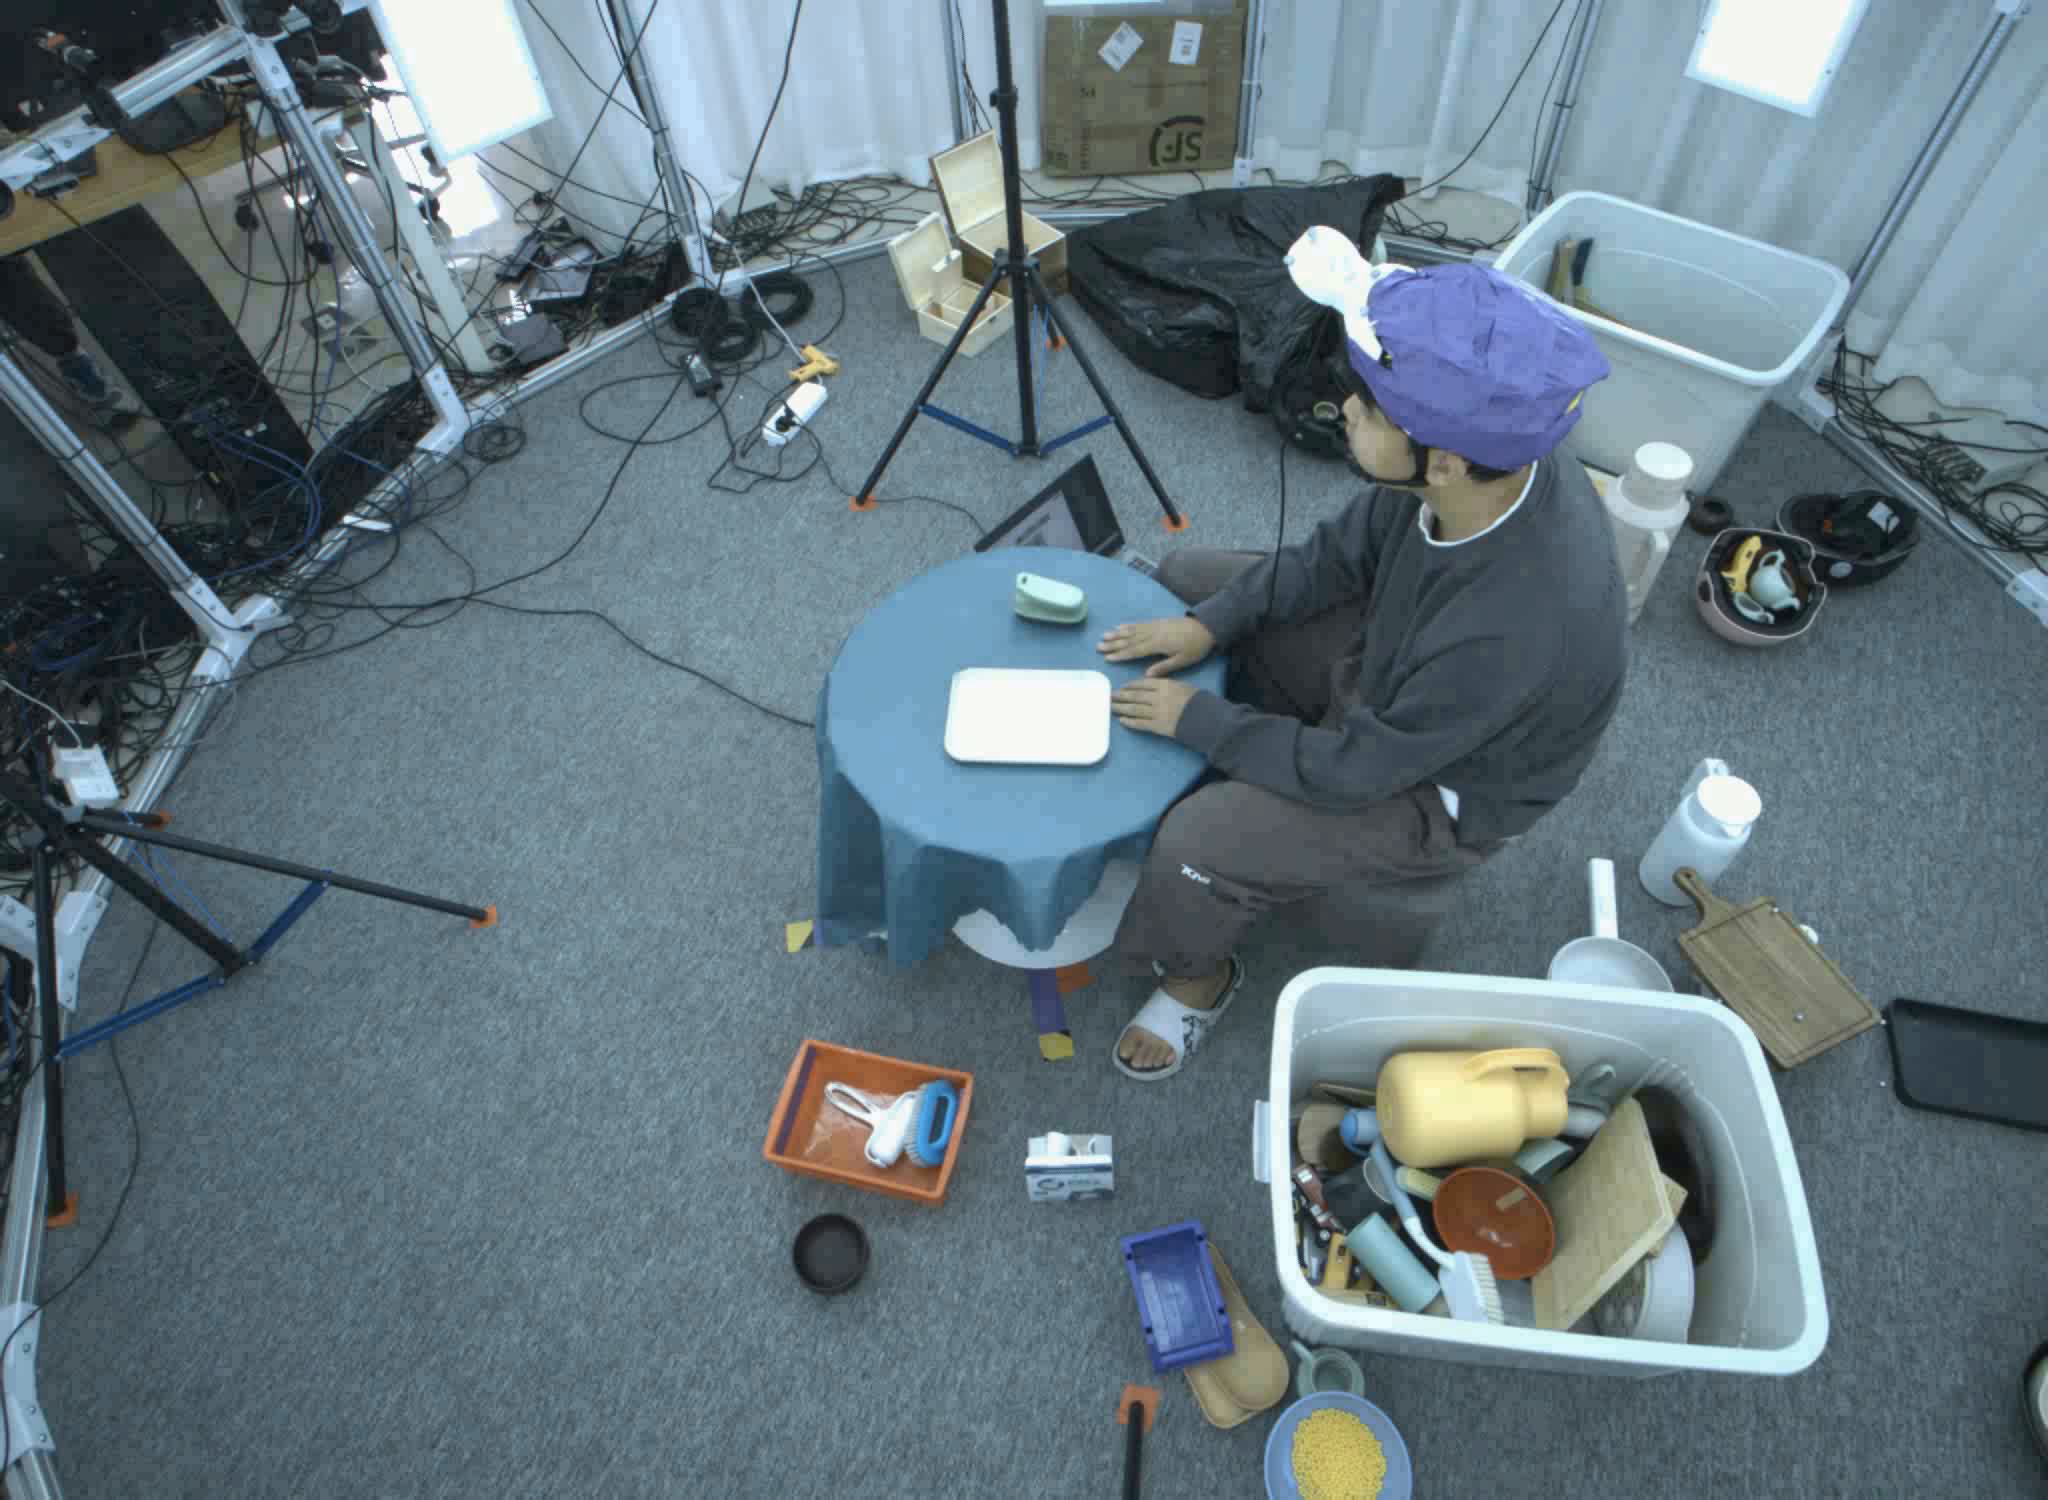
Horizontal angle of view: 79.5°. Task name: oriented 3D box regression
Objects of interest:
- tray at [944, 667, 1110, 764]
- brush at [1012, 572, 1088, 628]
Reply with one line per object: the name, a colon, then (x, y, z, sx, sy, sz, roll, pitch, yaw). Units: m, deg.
tray: (0.006, -0.050, 1.812, 0.239, 0.017, 0.170, 2, 55, 3)
brush: (0.038, -0.231, 1.917, 0.123, 0.076, 0.059, 16, 57, -3)
